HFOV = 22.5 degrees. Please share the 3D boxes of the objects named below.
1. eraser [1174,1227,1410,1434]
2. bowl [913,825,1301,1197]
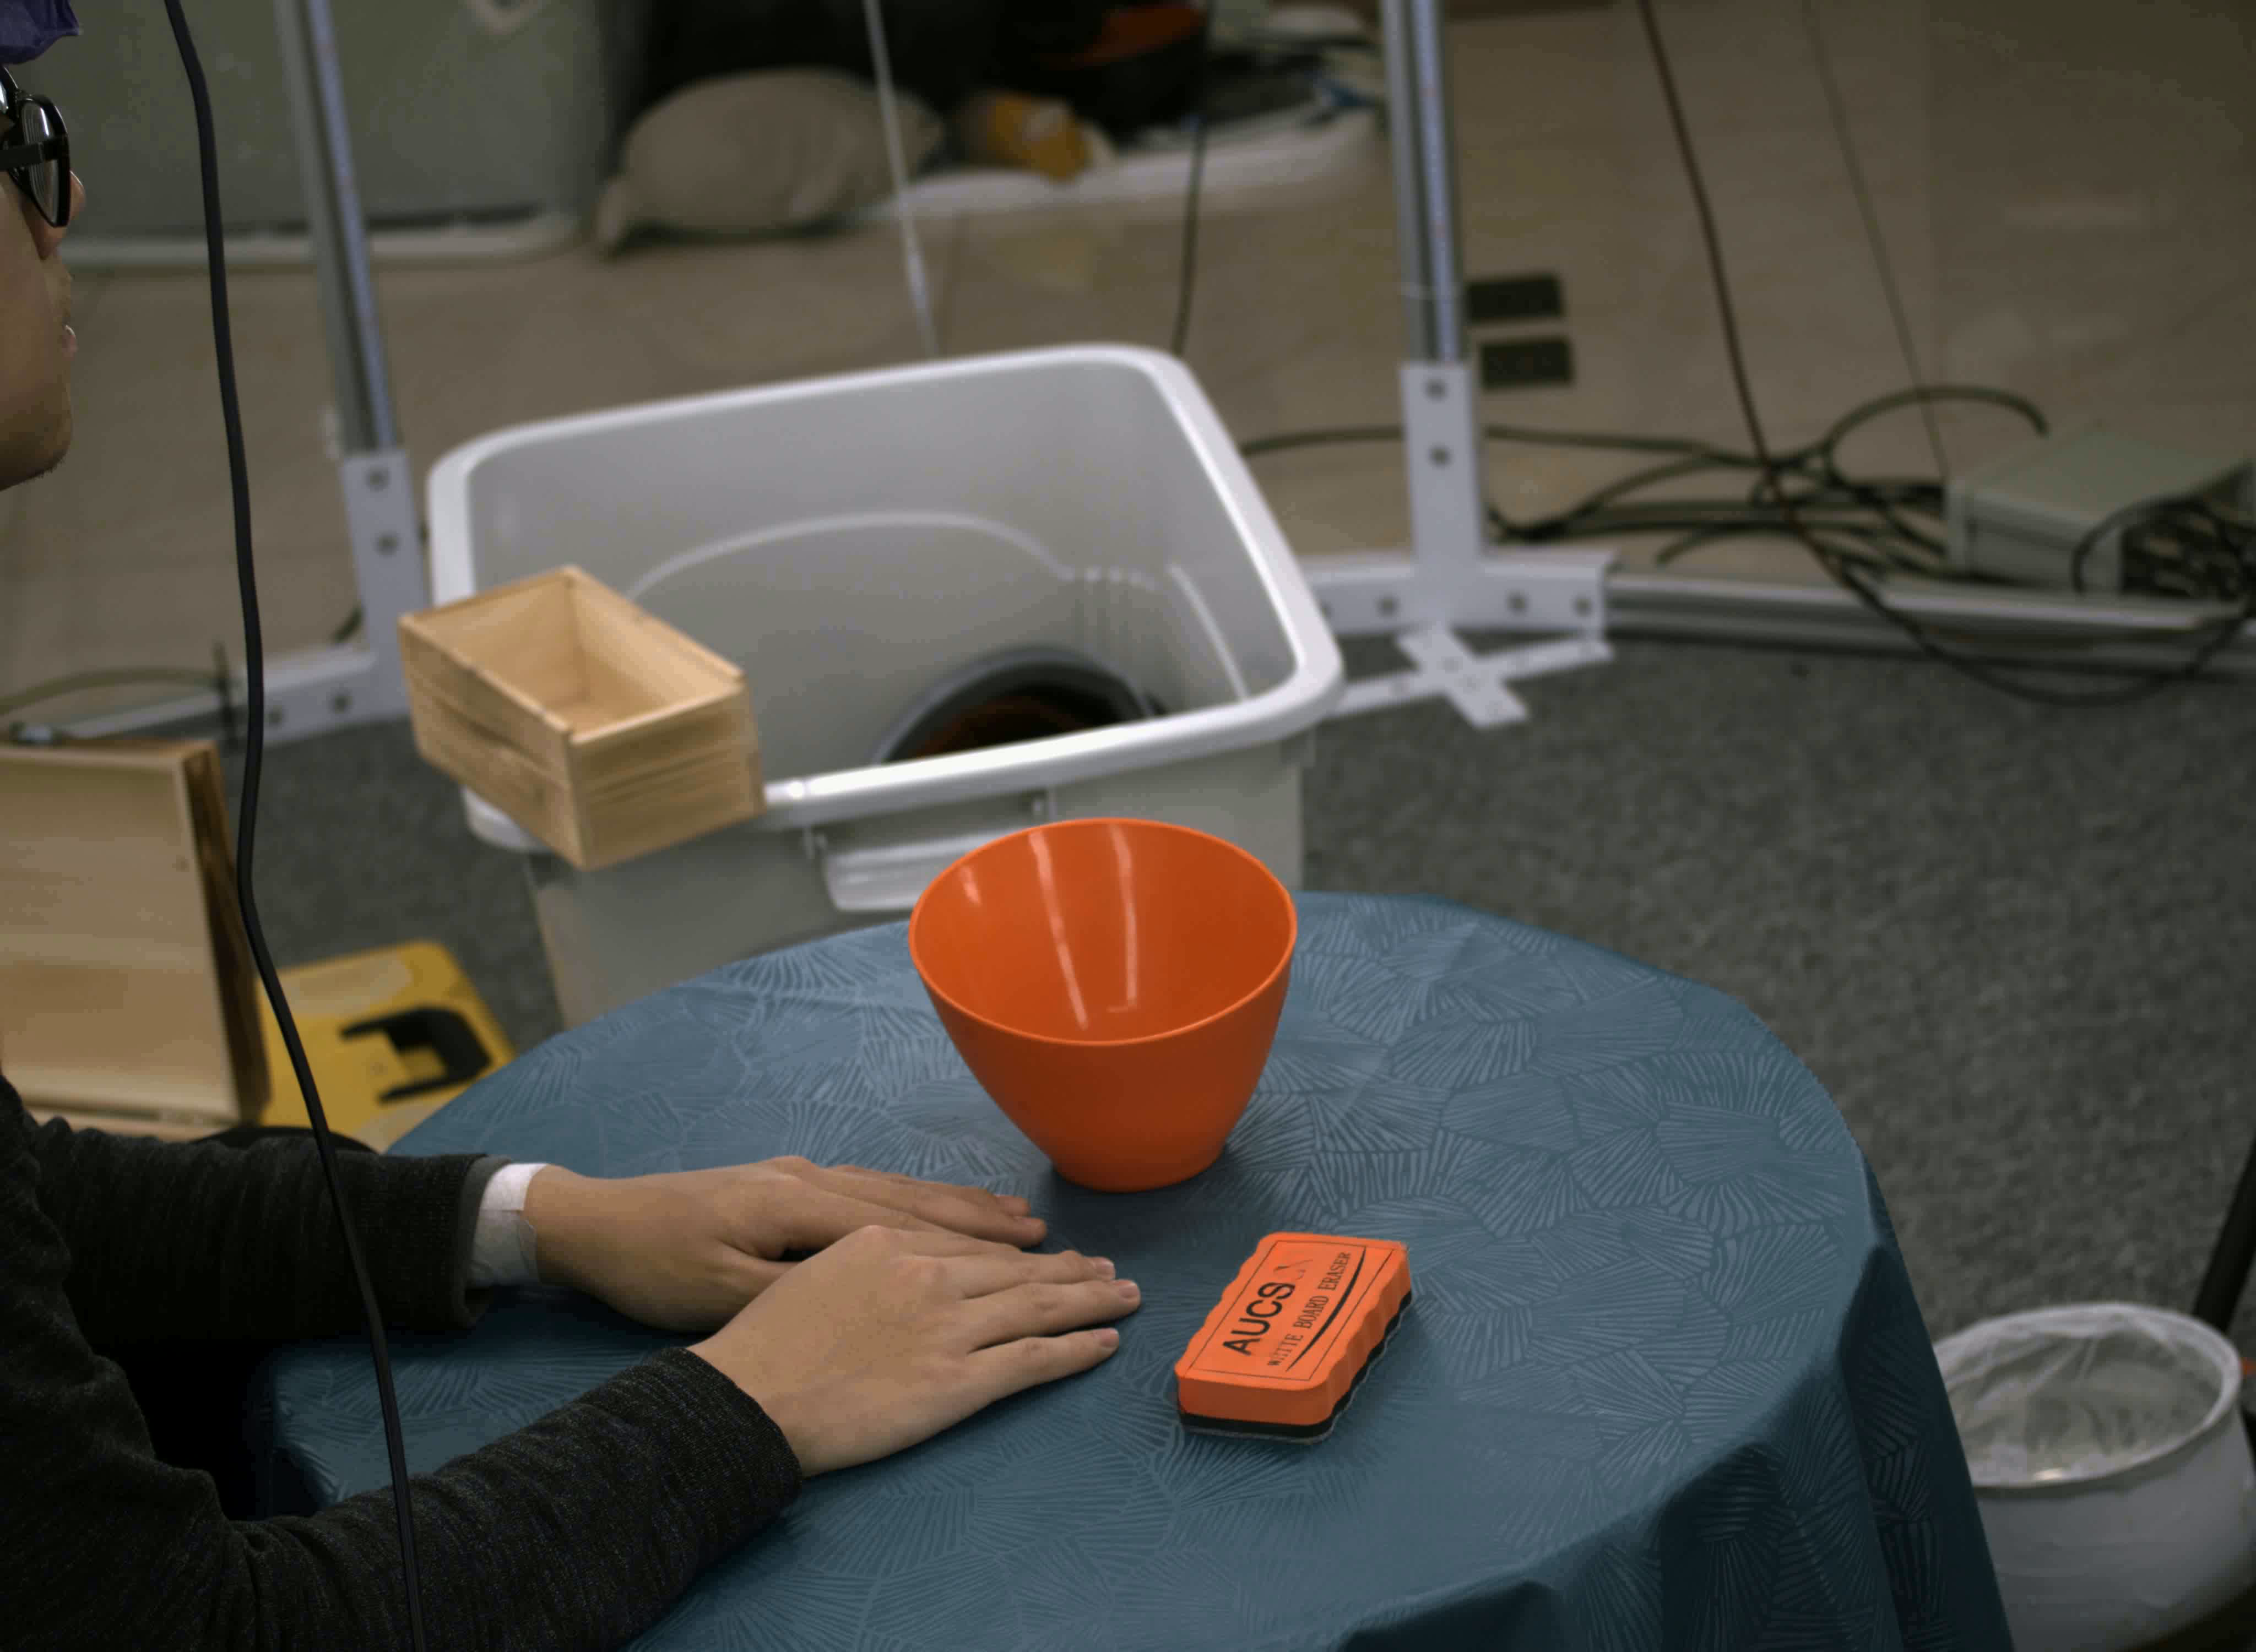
[{"bbox_3d":[0.059,0.178,2.014,0.059,0.023,0.106,5,26,20],"label":"eraser"},{"bbox_3d":[-0.004,0.076,2.163,0.148,0.106,0.146,-5,25,2],"label":"bowl"}]
